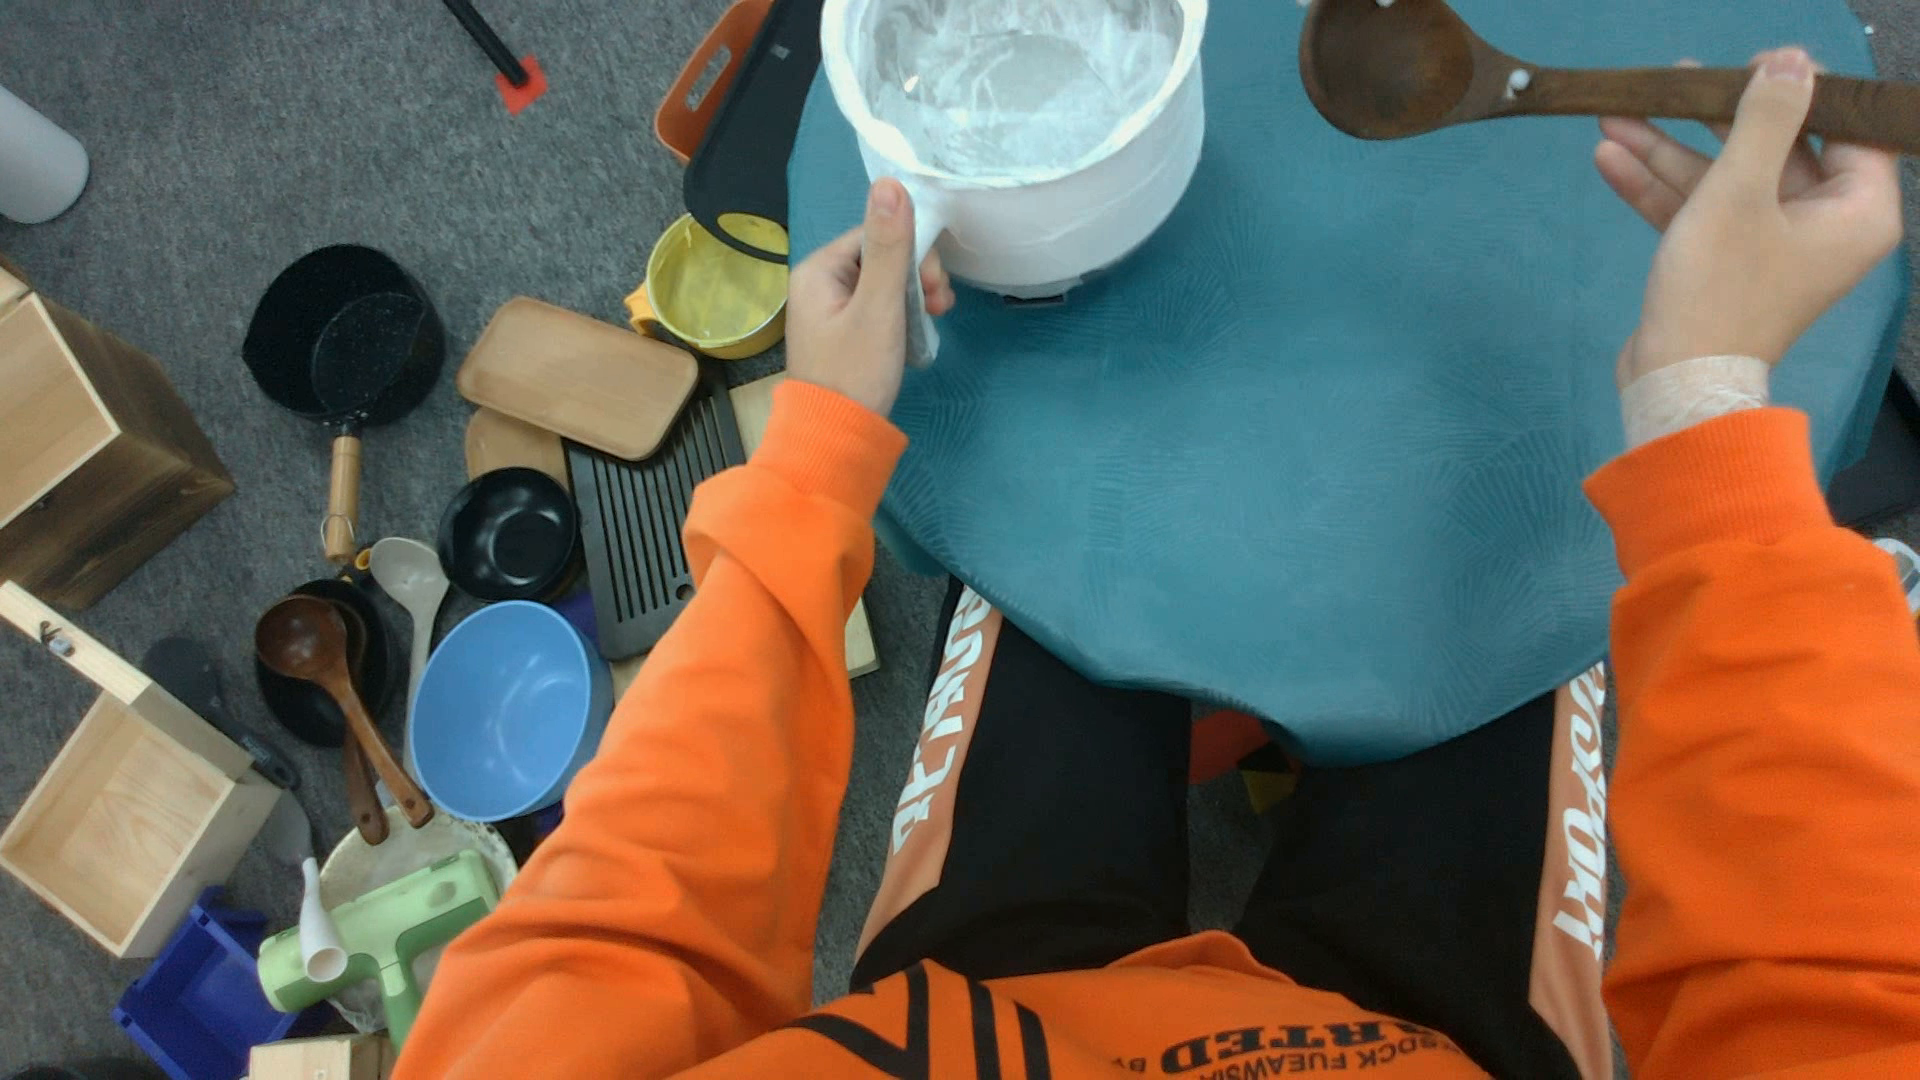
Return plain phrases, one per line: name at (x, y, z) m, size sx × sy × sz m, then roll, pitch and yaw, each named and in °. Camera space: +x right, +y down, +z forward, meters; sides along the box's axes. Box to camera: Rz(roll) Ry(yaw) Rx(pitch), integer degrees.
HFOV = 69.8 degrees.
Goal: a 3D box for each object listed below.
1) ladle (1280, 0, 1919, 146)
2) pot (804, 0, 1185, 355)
ladle at (0.263, -0.192, 0.554) m, size 0.274 × 0.071 × 0.076 m, roll 19°, pitch 92°, yaw 34°
pot at (0.010, -0.208, 0.688) m, size 0.178 × 0.136 × 0.234 m, roll 26°, pitch 80°, yaw 15°
